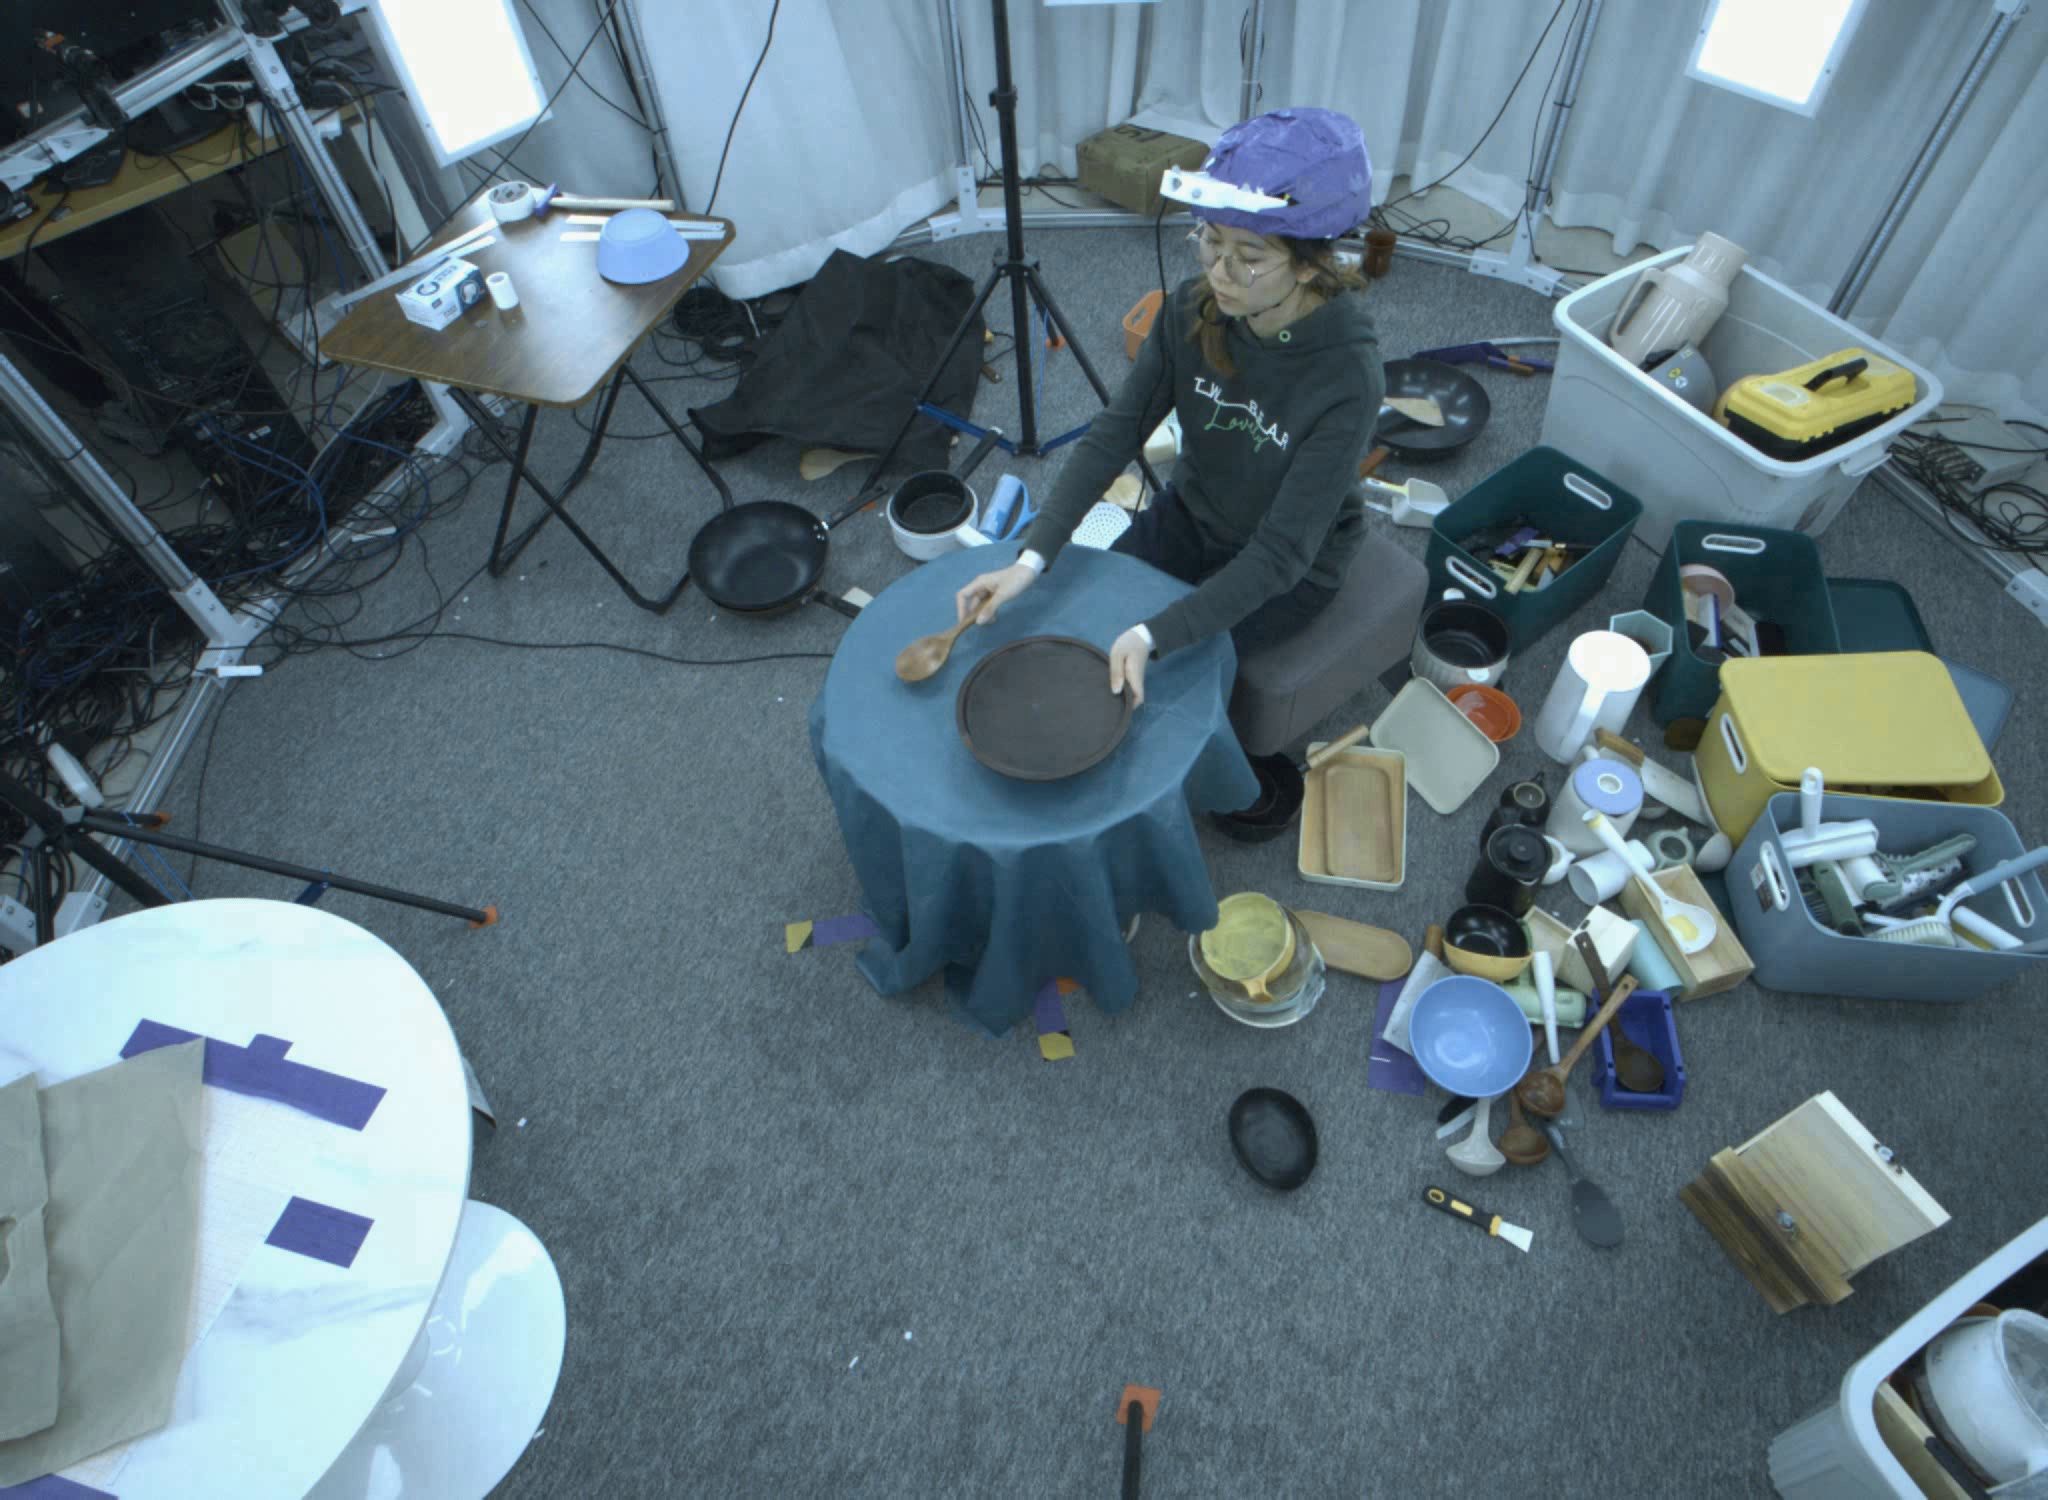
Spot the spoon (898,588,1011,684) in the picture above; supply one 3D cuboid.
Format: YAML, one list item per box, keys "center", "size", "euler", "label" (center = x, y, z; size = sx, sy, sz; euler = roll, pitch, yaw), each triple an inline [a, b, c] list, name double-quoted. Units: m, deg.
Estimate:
- center: [-0.103, -0.174, 1.870]
  size: [0.216, 0.017, 0.074]
  euler: [-43, 57, -14]
  label: "spoon"

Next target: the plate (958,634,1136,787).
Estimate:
- center: [0.032, -0.055, 1.752]
  size: [0.254, 0.029, 0.252]
  euler: [-1, 59, 3]
  label: "plate"
